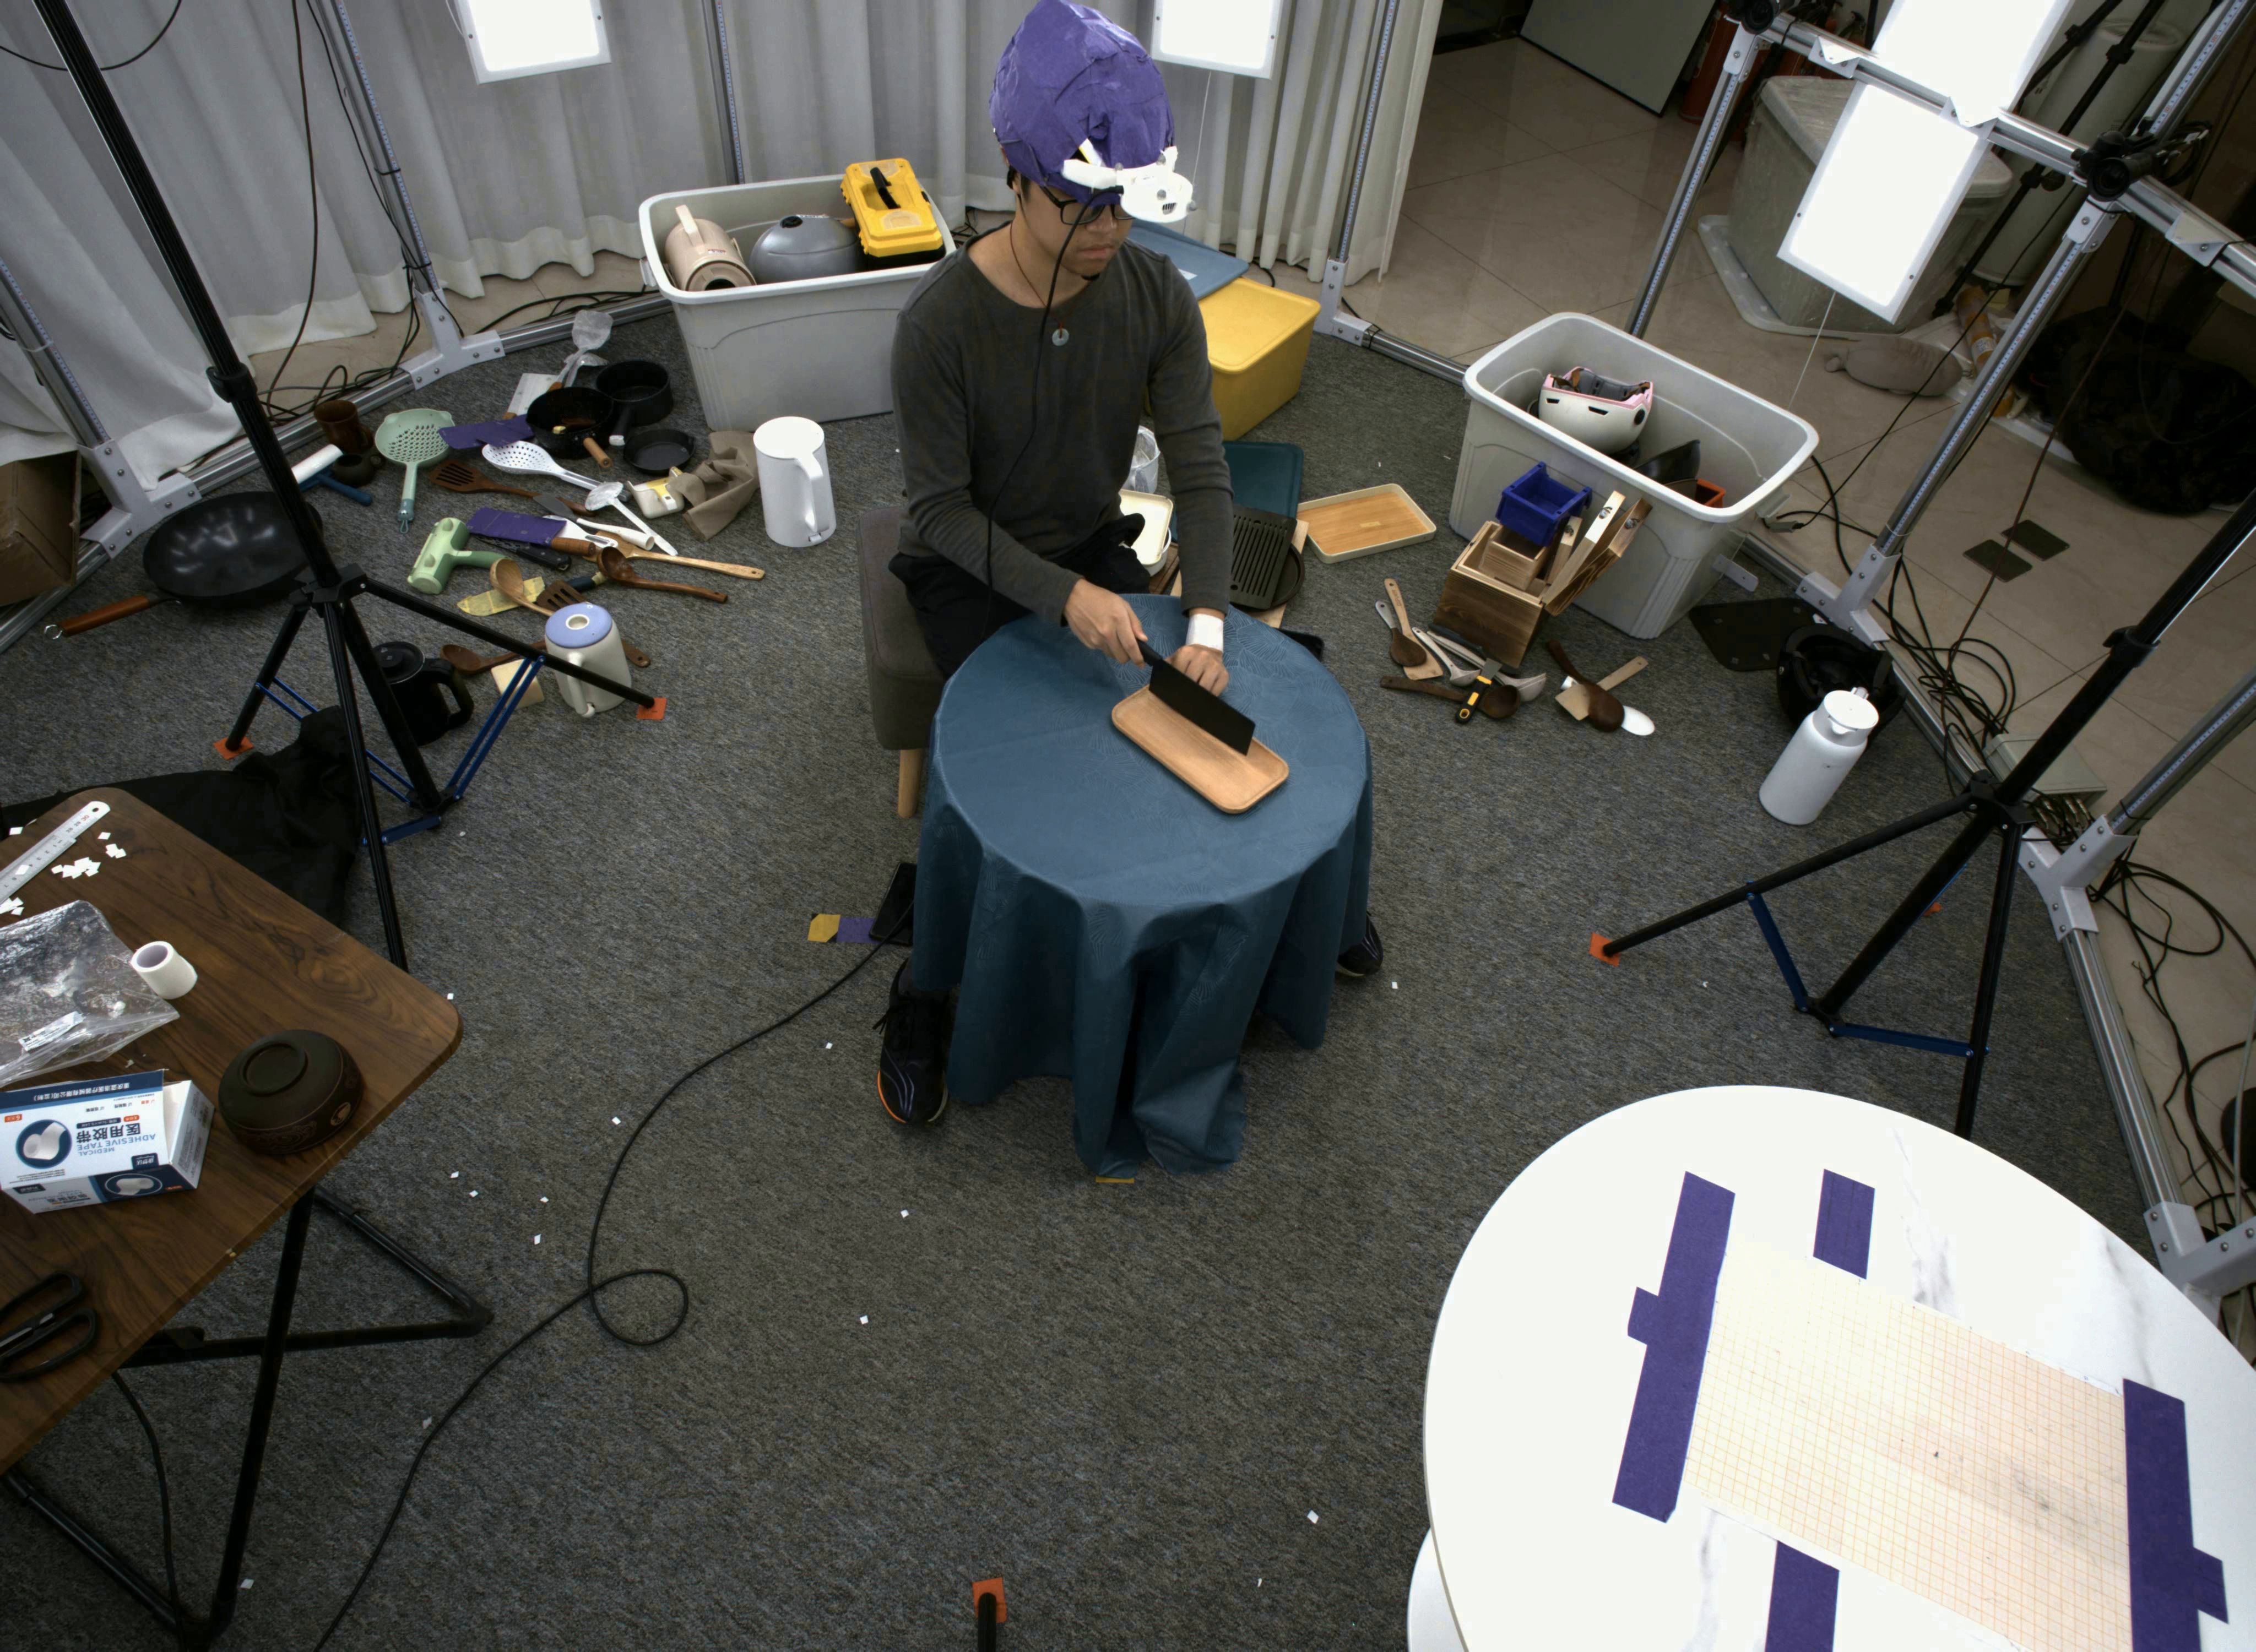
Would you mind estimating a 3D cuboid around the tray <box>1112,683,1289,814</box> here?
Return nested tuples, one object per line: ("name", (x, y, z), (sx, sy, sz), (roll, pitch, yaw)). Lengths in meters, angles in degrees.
("tray", (0.097, -0.113, 1.762), (0.131, 0.022, 0.255), (-32, 57, -30))

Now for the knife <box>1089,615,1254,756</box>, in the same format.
("knife", (0.056, -0.200, 1.777), (0.306, 0.079, 0.021), (41, 51, 22))
